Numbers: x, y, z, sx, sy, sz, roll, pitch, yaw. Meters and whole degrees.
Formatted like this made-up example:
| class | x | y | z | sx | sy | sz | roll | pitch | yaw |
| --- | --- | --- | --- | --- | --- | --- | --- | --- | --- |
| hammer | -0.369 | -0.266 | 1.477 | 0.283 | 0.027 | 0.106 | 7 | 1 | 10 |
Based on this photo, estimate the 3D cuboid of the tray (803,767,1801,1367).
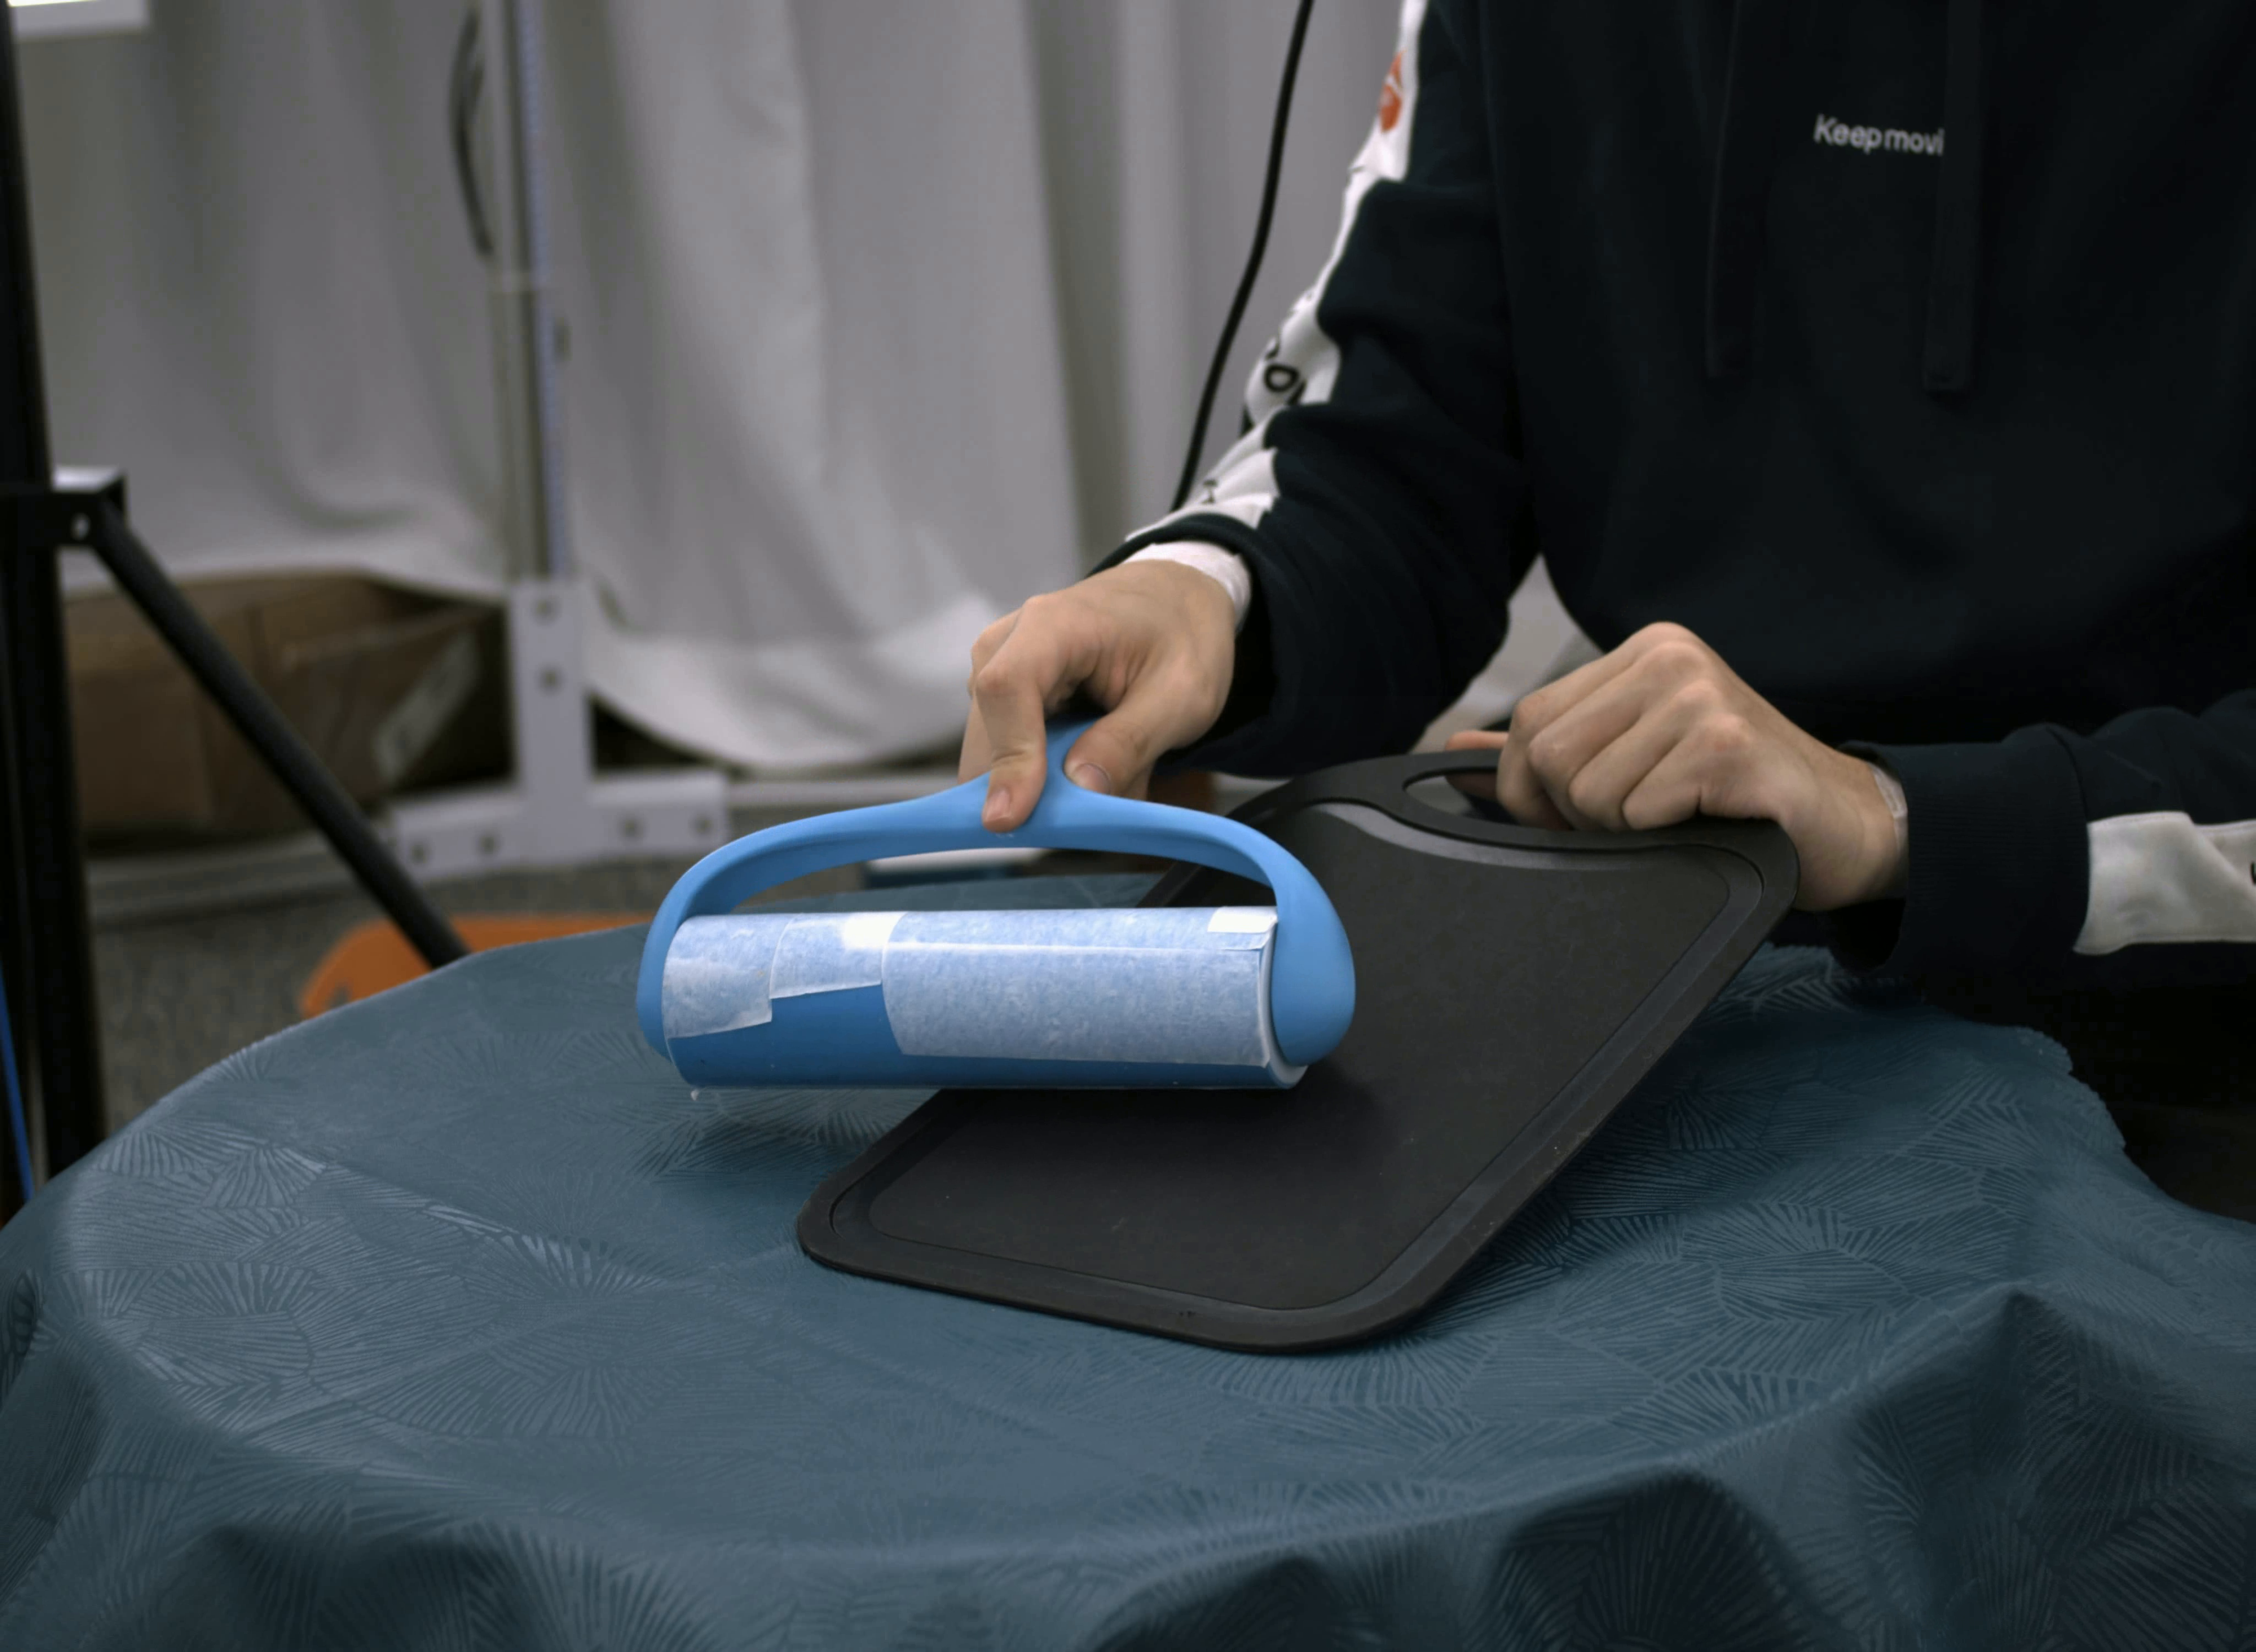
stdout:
| class | x | y | z | sx | sy | sz | roll | pitch | yaw |
| --- | --- | --- | --- | --- | --- | --- | --- | --- | --- |
| tray | 0.059 | 0.060 | 1.579 | 0.215 | 0.010 | 0.321 | 8 | 33 | 34 |

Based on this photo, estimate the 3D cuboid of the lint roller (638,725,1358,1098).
| class | x | y | z | sx | sy | sz | roll | pitch | yaw |
| --- | --- | --- | --- | --- | --- | --- | --- | --- | --- |
| lint roller | -0.029 | 0.013 | 1.630 | 0.231 | 0.067 | 0.180 | -4 | 40 | 21 |
